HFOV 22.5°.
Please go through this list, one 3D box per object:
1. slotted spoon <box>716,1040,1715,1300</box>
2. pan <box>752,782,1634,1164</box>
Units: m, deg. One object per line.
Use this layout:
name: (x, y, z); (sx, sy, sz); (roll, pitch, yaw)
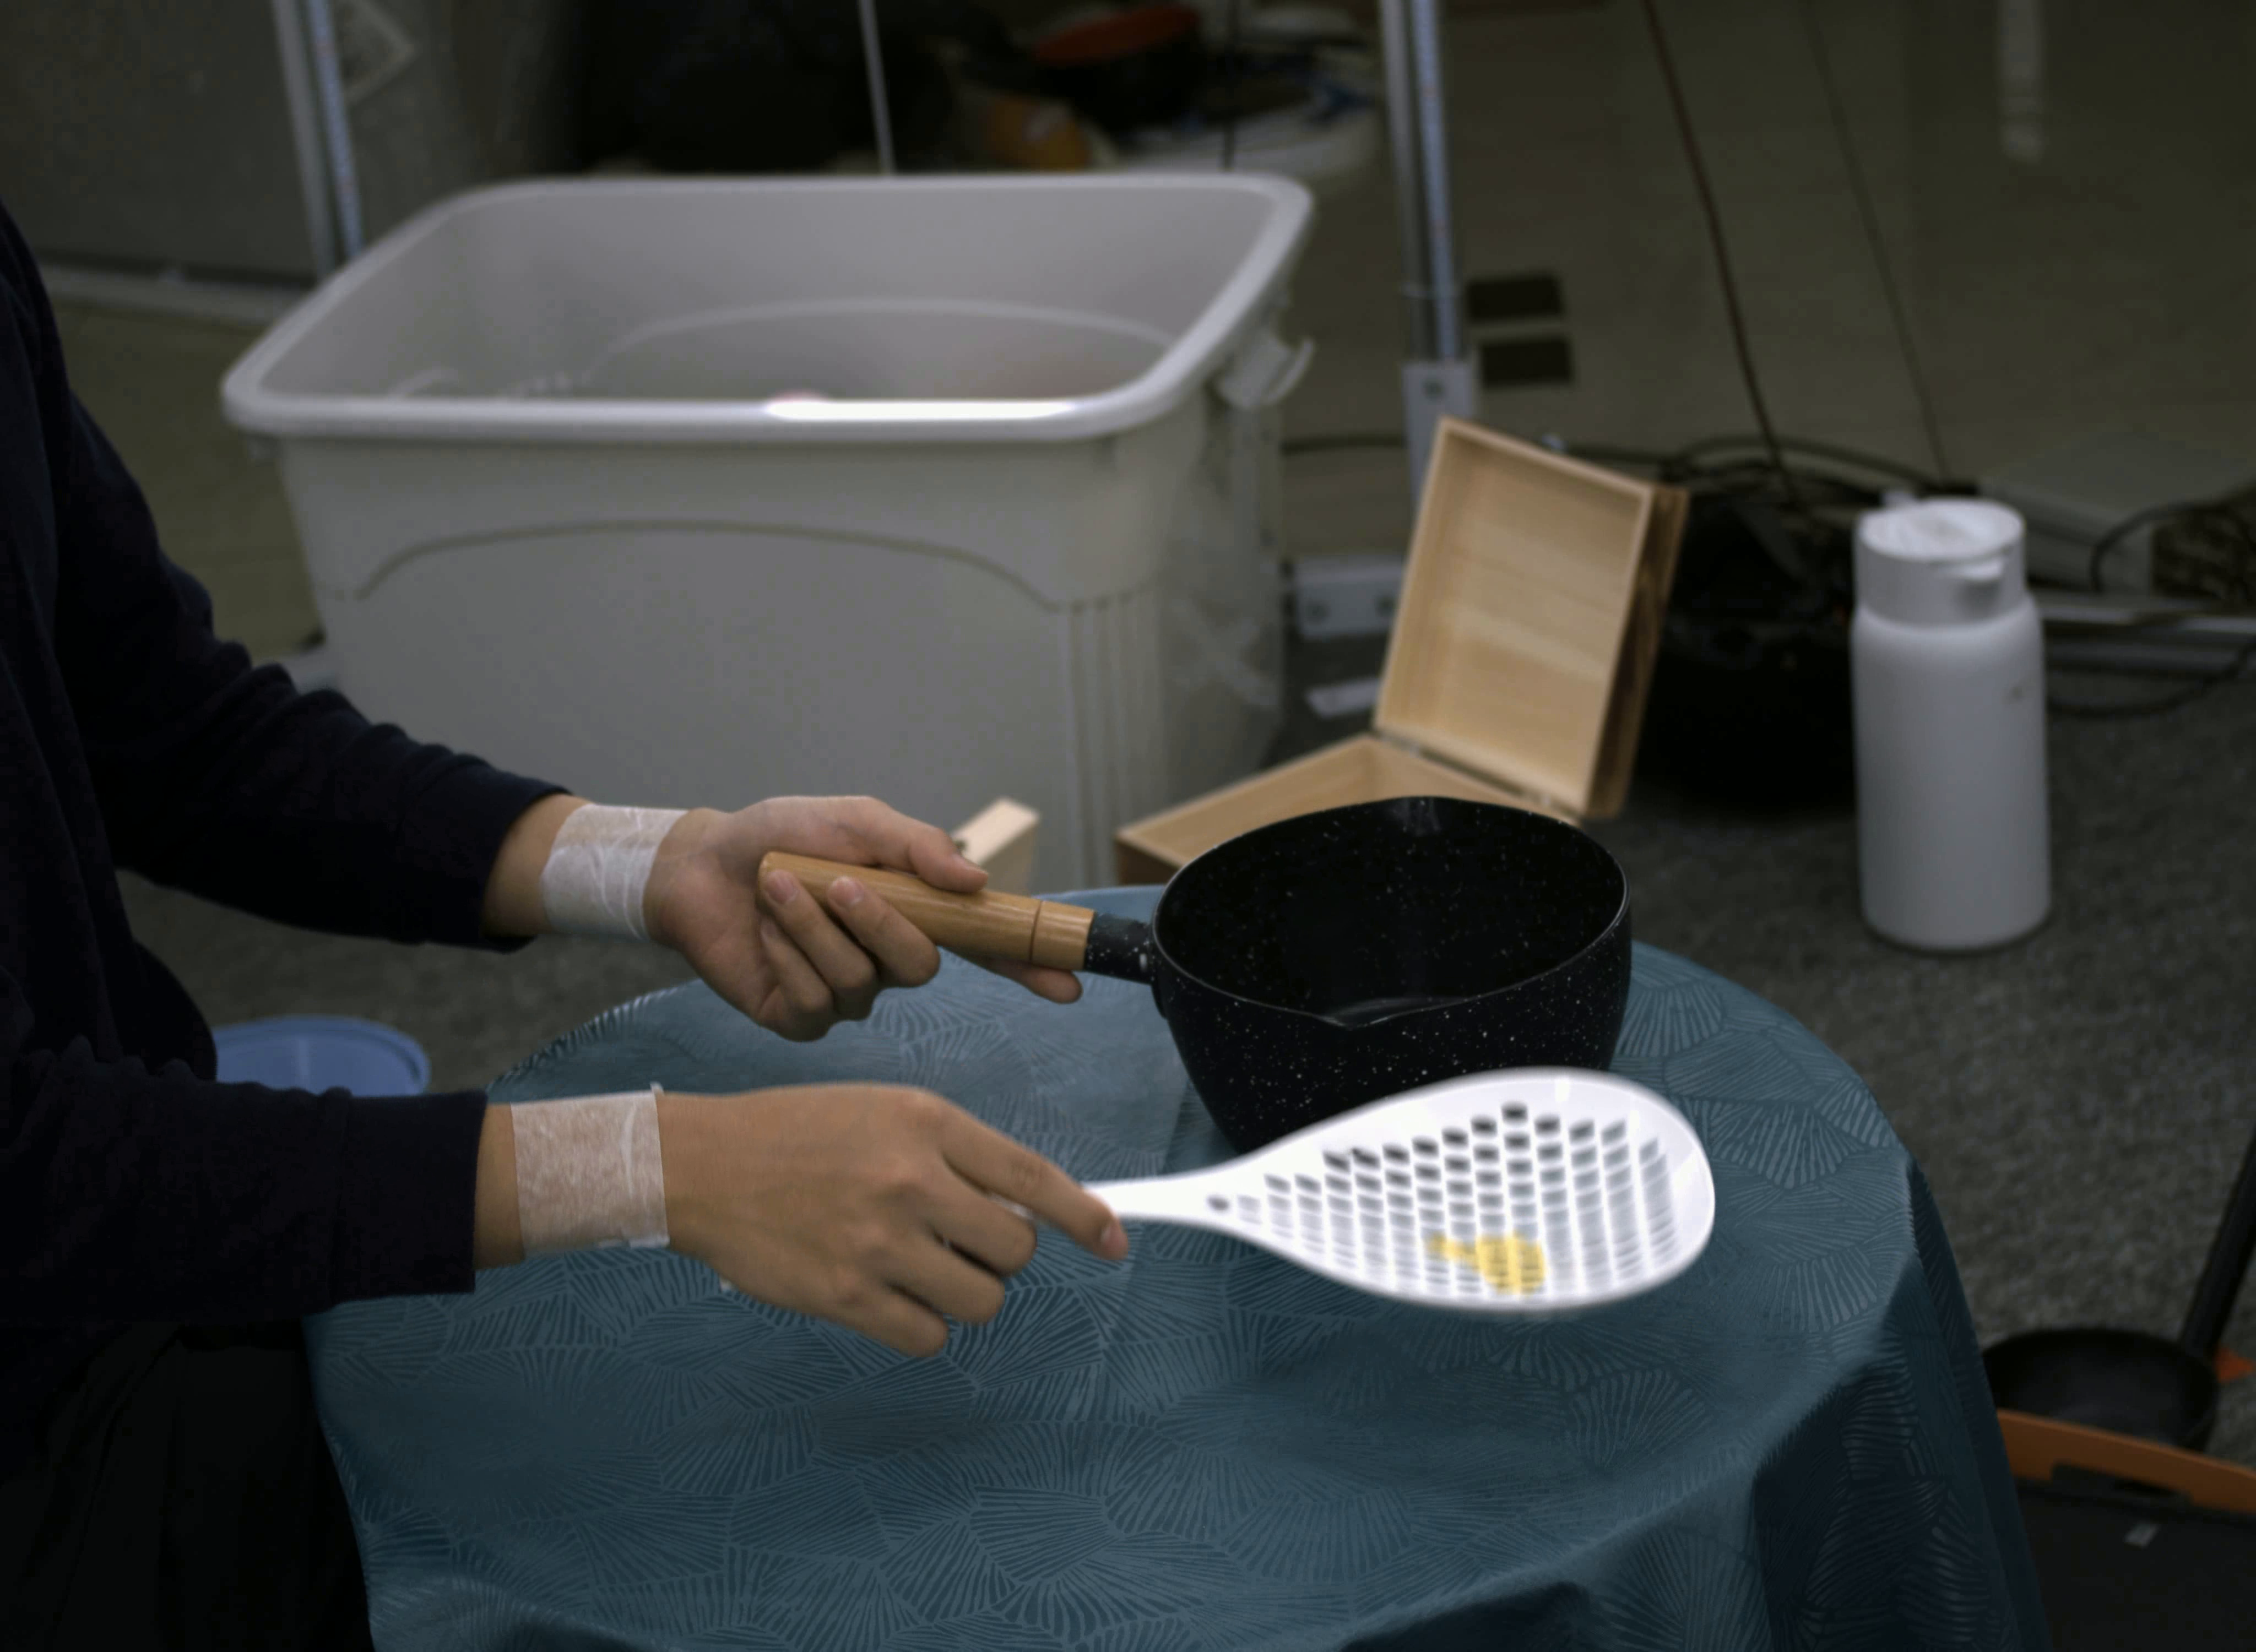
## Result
slotted spoon: (0.030, 0.134, 1.980); (0.347, 0.051, 0.134); (-1, 35, -4)
pan: (0.024, 0.057, 2.185); (0.342, 0.110, 0.204); (0, 27, 10)
